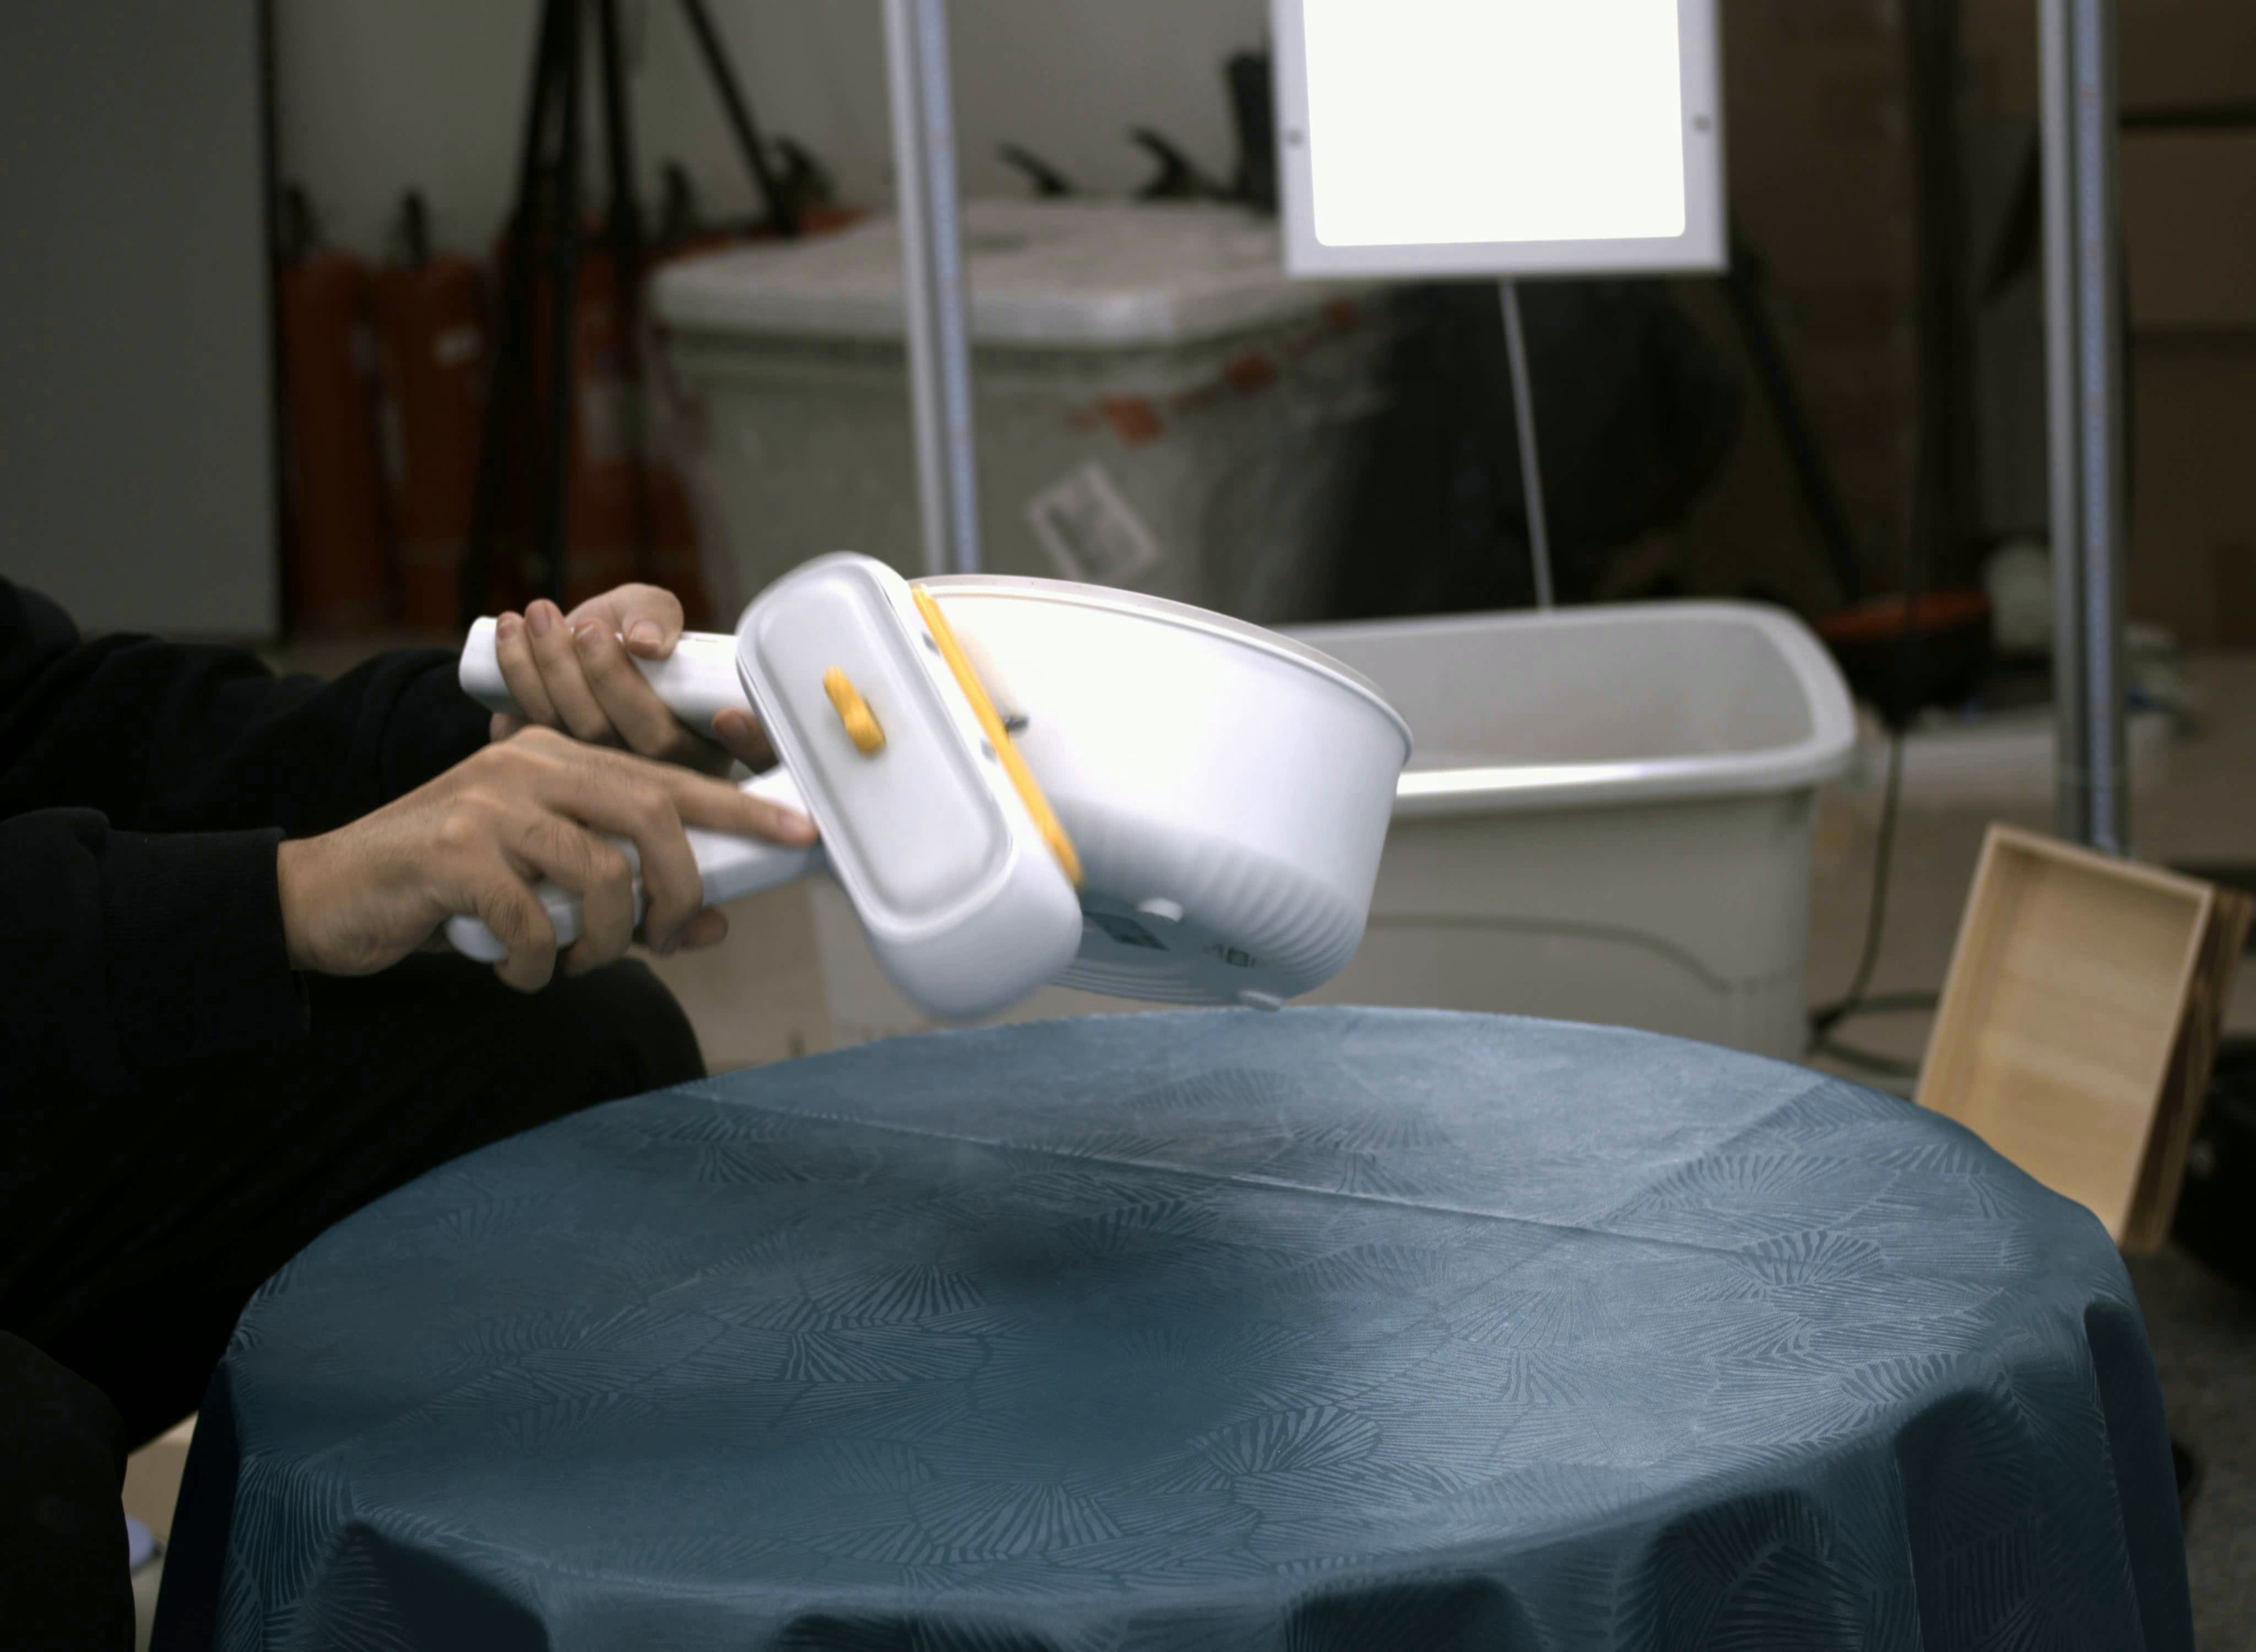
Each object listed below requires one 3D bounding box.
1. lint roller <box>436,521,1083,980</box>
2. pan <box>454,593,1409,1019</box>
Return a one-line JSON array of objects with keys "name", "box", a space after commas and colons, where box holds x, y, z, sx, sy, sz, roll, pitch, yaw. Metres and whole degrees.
[{"name": "lint roller", "box": [-0.129, -0.001, 1.767, 0.191, 0.074, 0.195, -30, 49, -5]}, {"name": "pan", "box": [-0.080, -0.007, 1.922, 0.360, 0.102, 0.198, 4, -14, 25]}]
